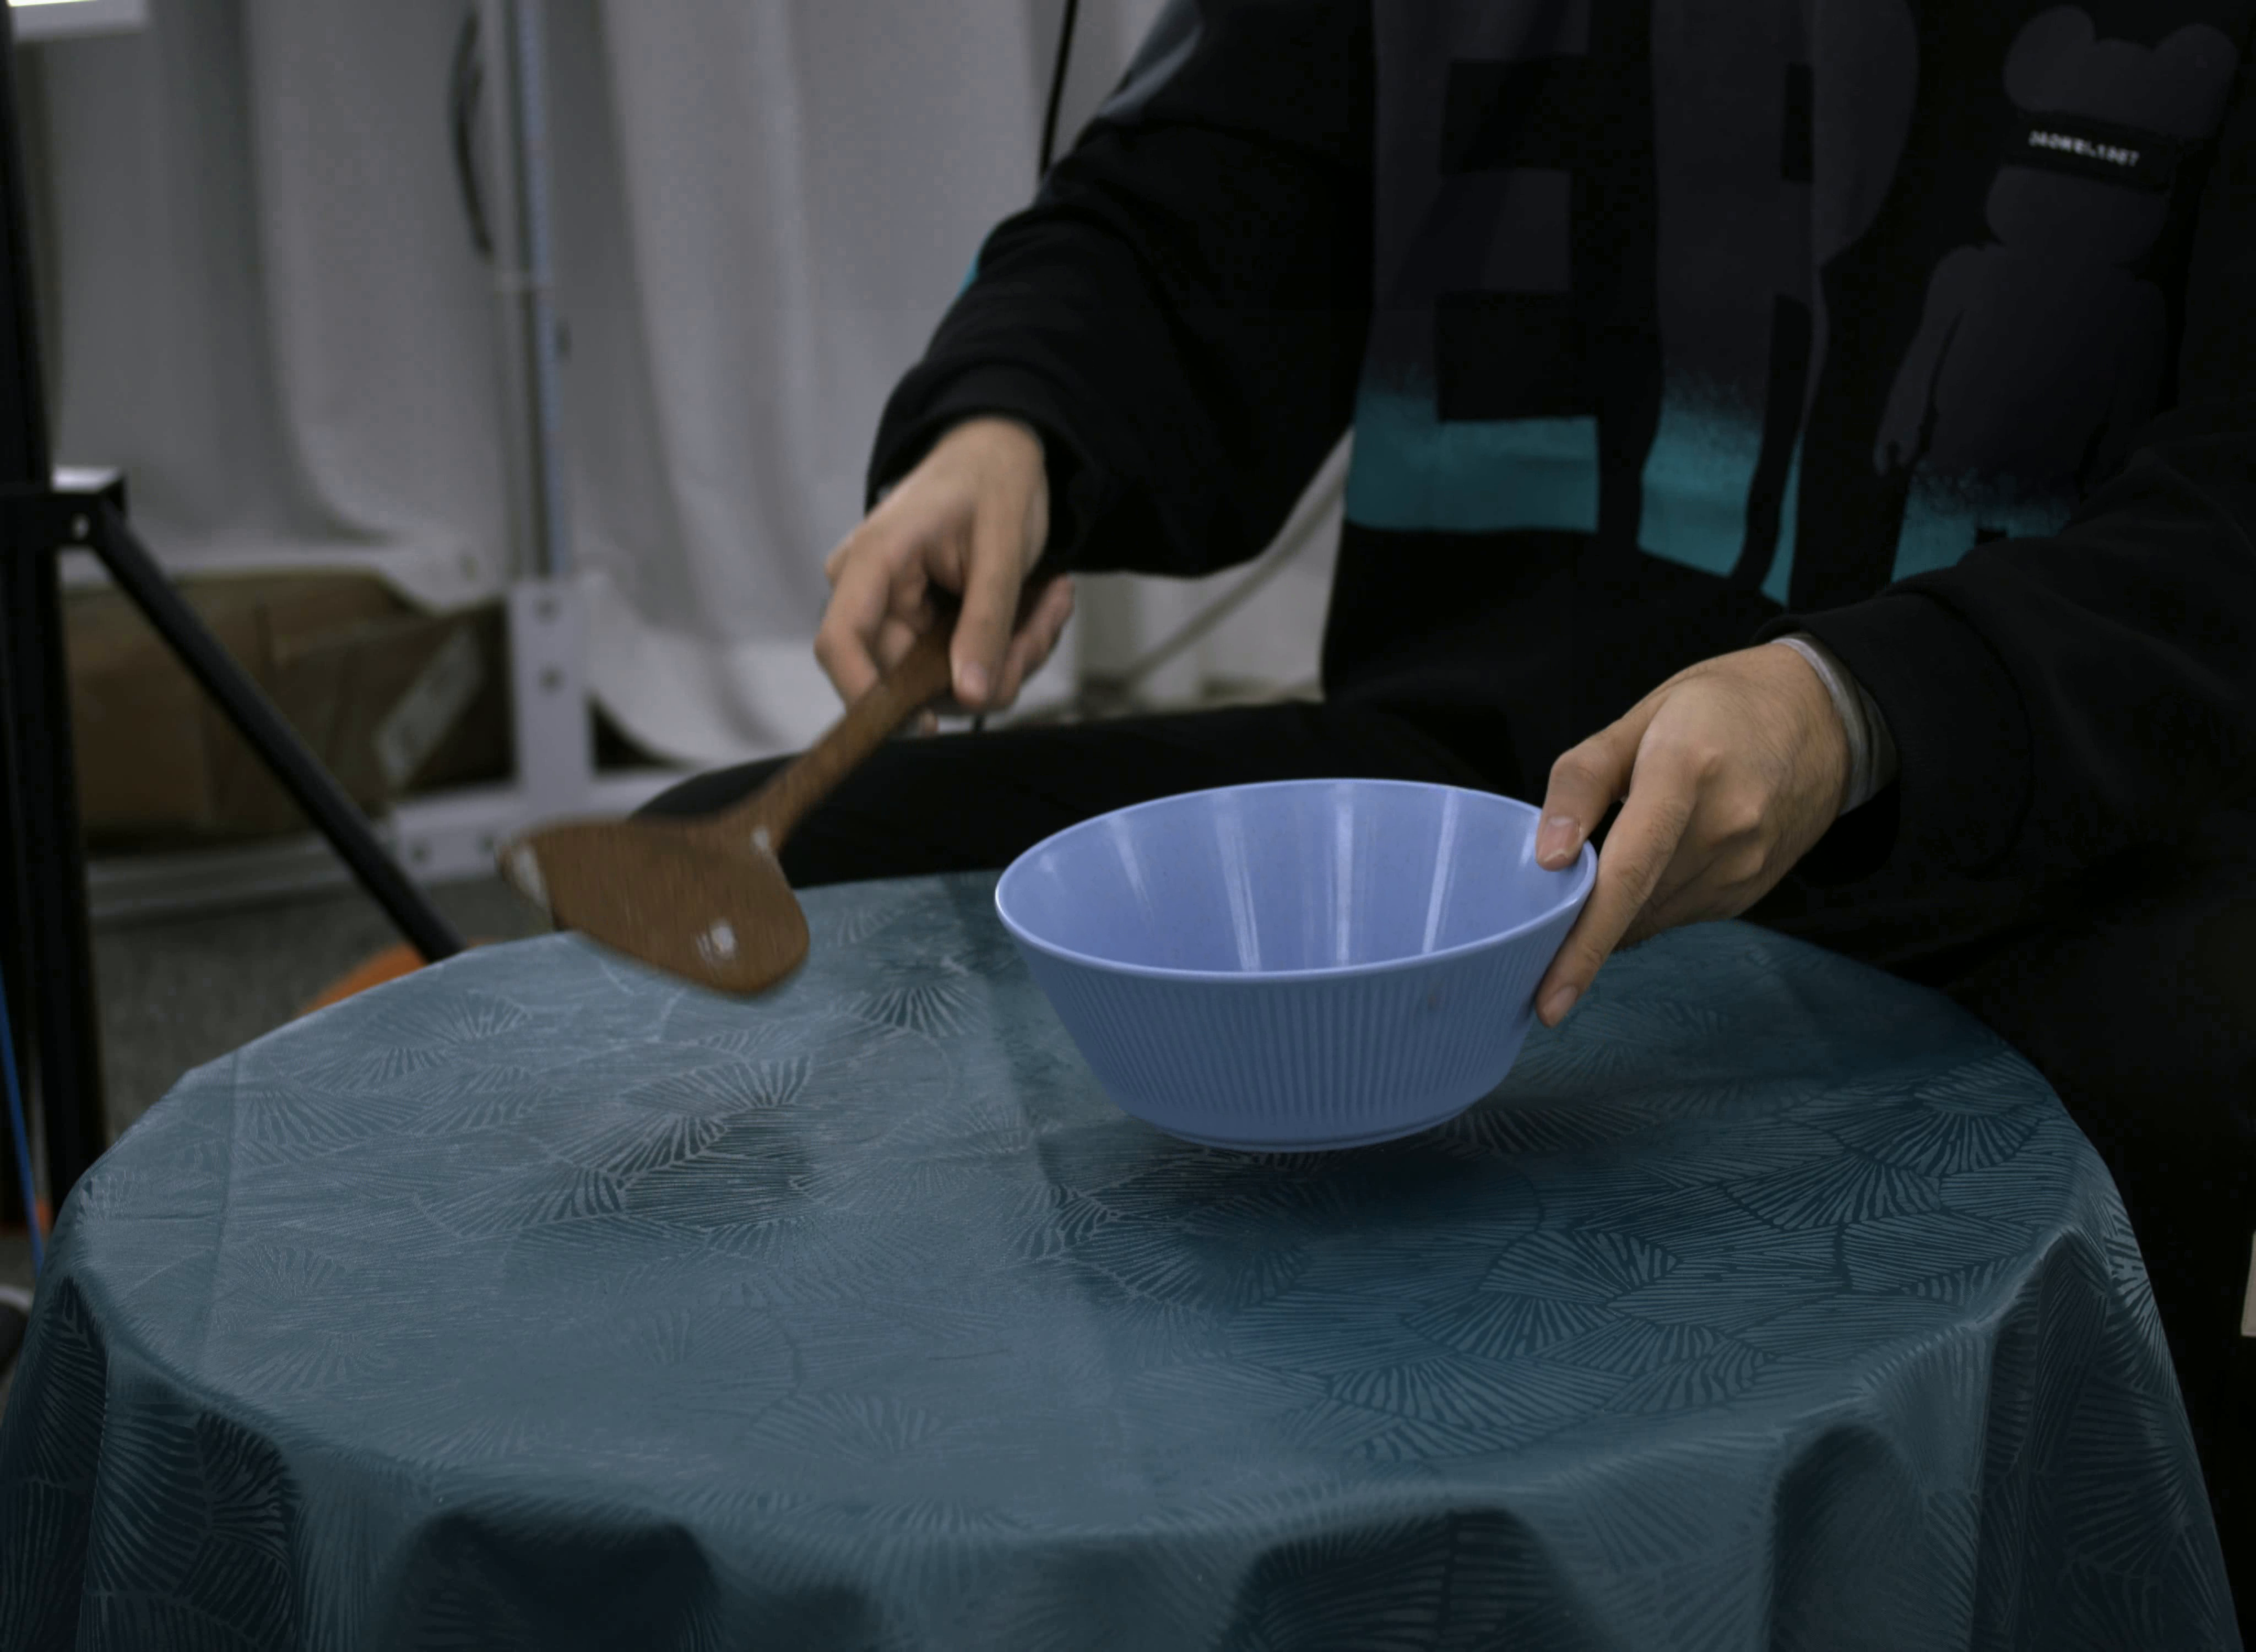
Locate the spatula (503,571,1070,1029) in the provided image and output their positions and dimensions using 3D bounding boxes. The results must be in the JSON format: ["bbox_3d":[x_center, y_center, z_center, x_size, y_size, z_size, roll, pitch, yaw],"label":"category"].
[{"bbox_3d":[-0.090,-0.020,1.729,0.096,0.016,0.382,25,27,10],"label":"spatula"}]

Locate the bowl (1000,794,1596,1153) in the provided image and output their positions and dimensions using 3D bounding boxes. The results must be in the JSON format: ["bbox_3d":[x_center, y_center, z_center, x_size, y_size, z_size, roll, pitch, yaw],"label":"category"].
[{"bbox_3d":[0.051,0.046,1.559,0.175,0.070,0.177,-4,17,0],"label":"bowl"}]
